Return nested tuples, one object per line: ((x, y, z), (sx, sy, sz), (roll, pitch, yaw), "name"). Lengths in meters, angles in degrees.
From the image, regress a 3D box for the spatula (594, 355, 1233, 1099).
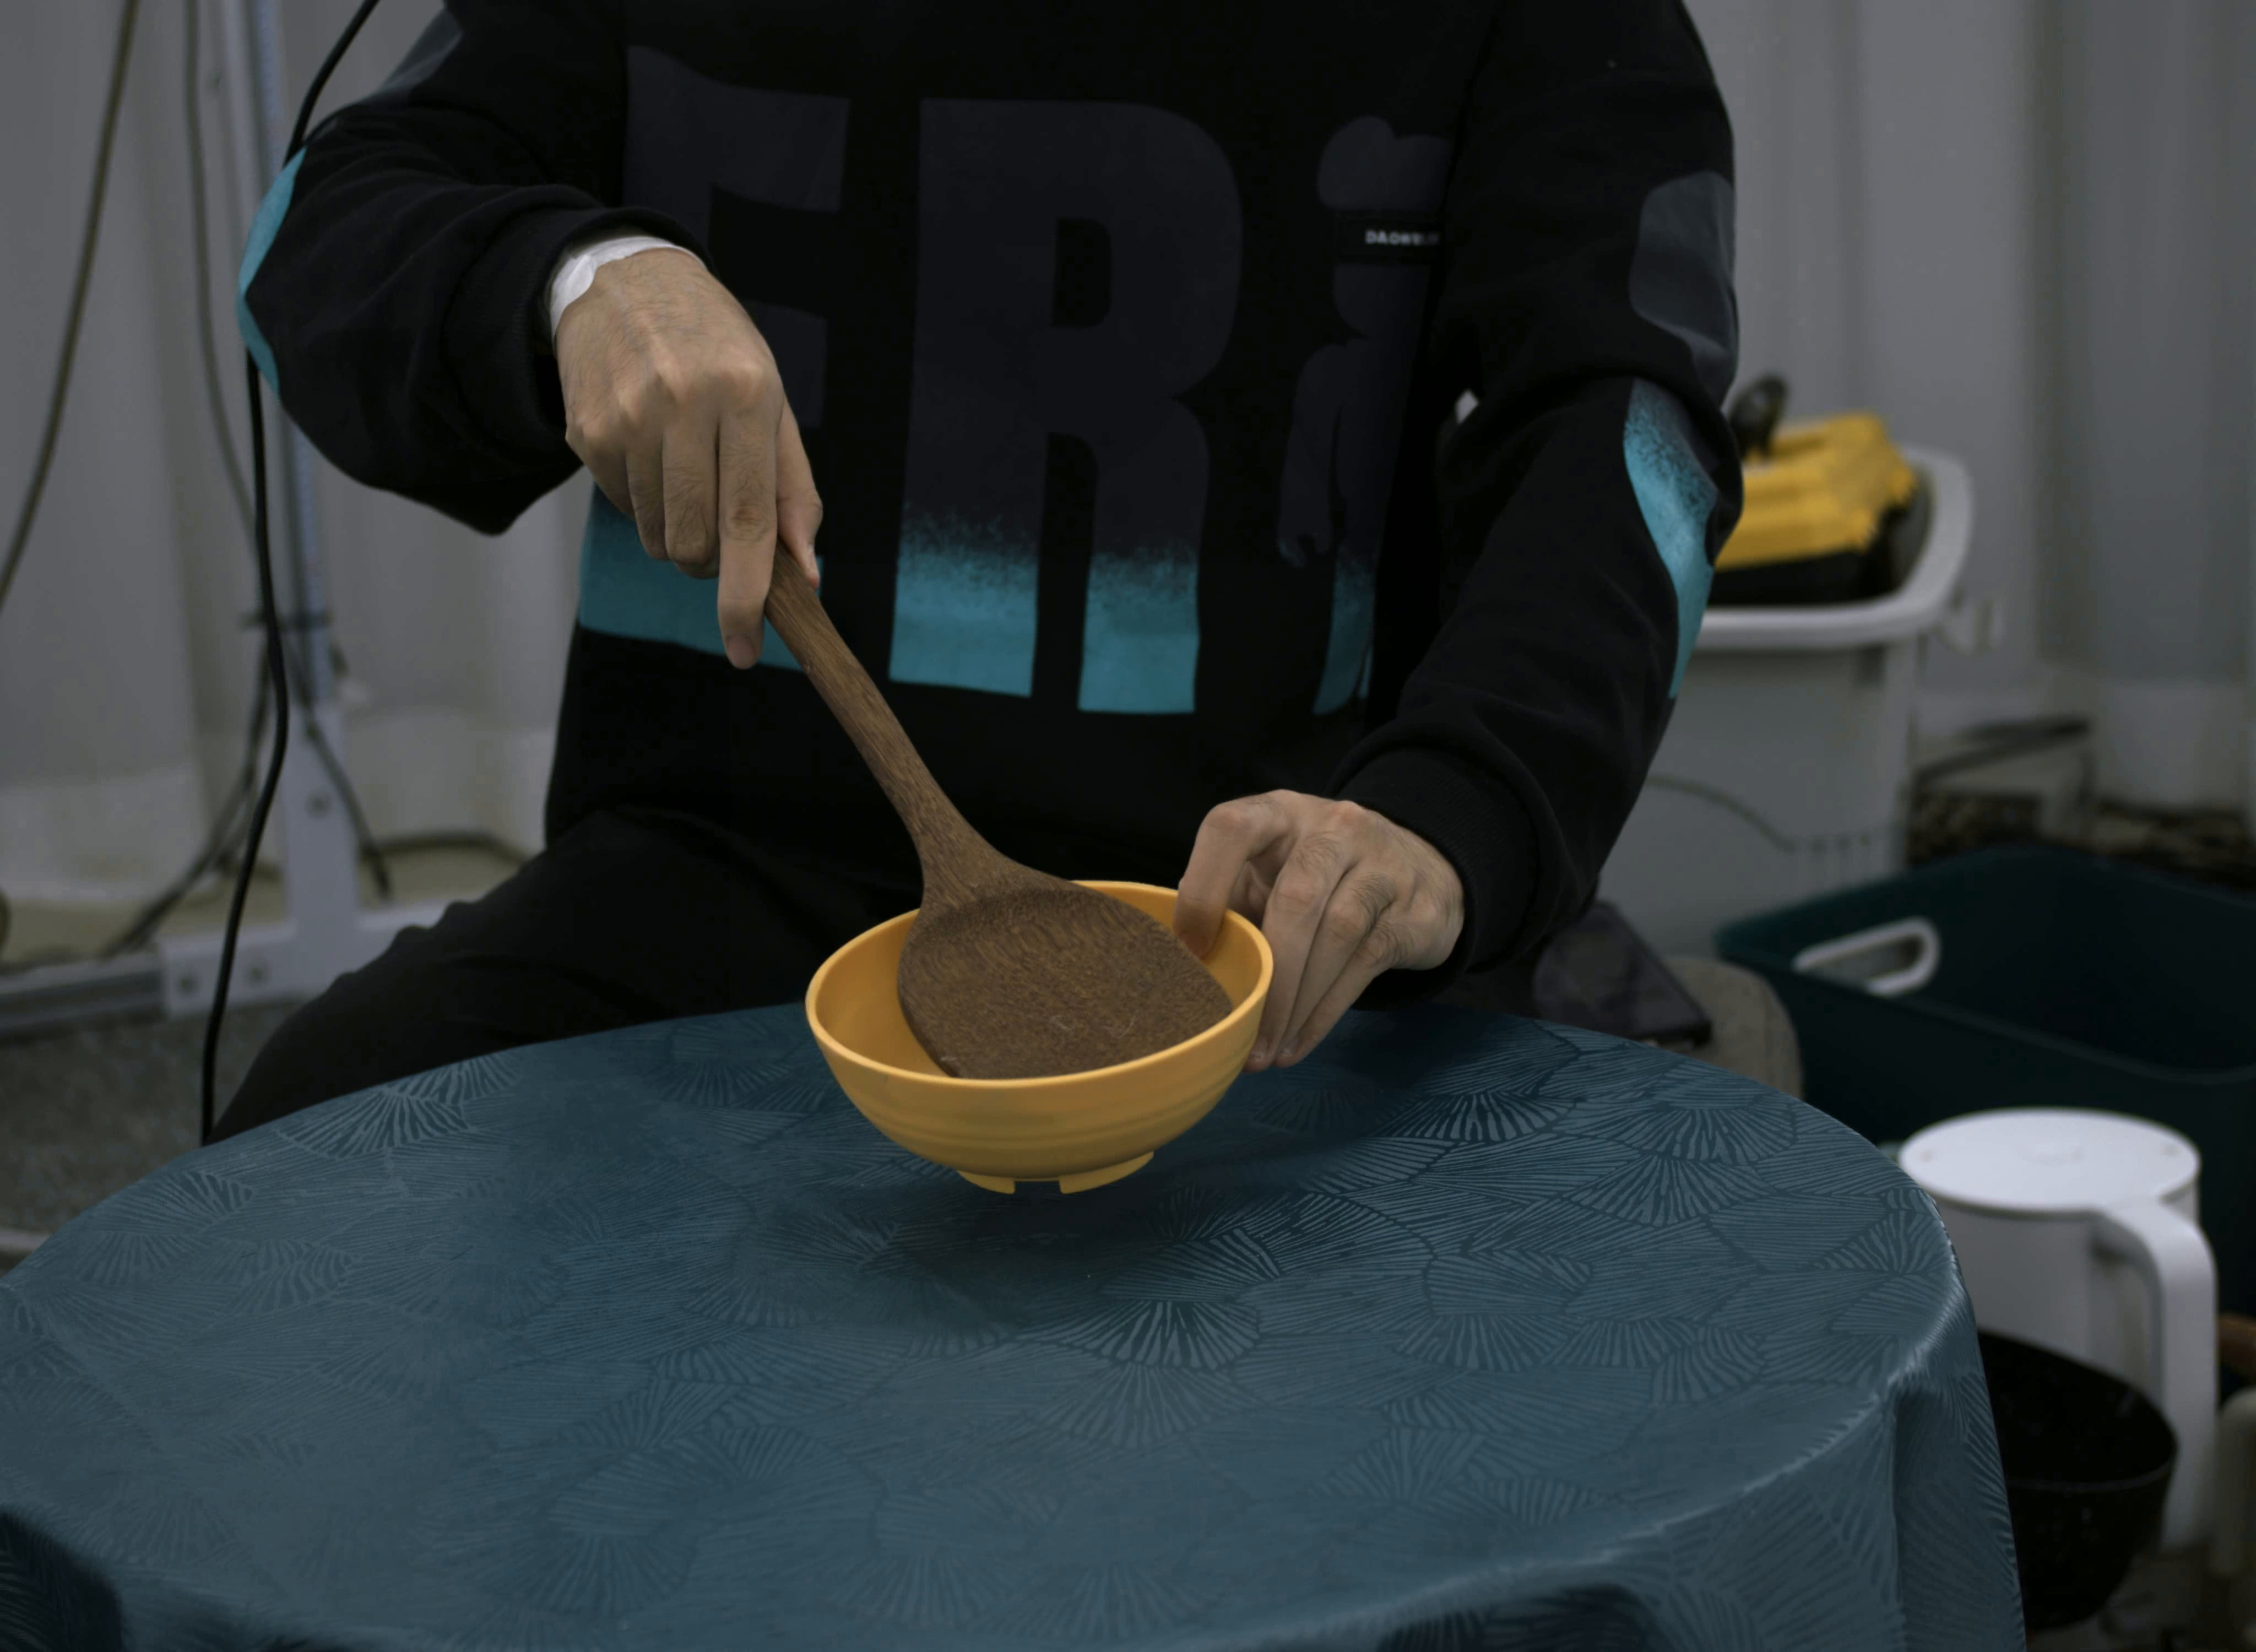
((-0.089, -0.042, 1.754), (0.096, 0.015, 0.391), (-15, 46, -22), "spatula")

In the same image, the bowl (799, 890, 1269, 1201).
((-0.028, 0.075, 1.685), (0.145, 0.059, 0.147), (-2, 22, 1), "bowl")
